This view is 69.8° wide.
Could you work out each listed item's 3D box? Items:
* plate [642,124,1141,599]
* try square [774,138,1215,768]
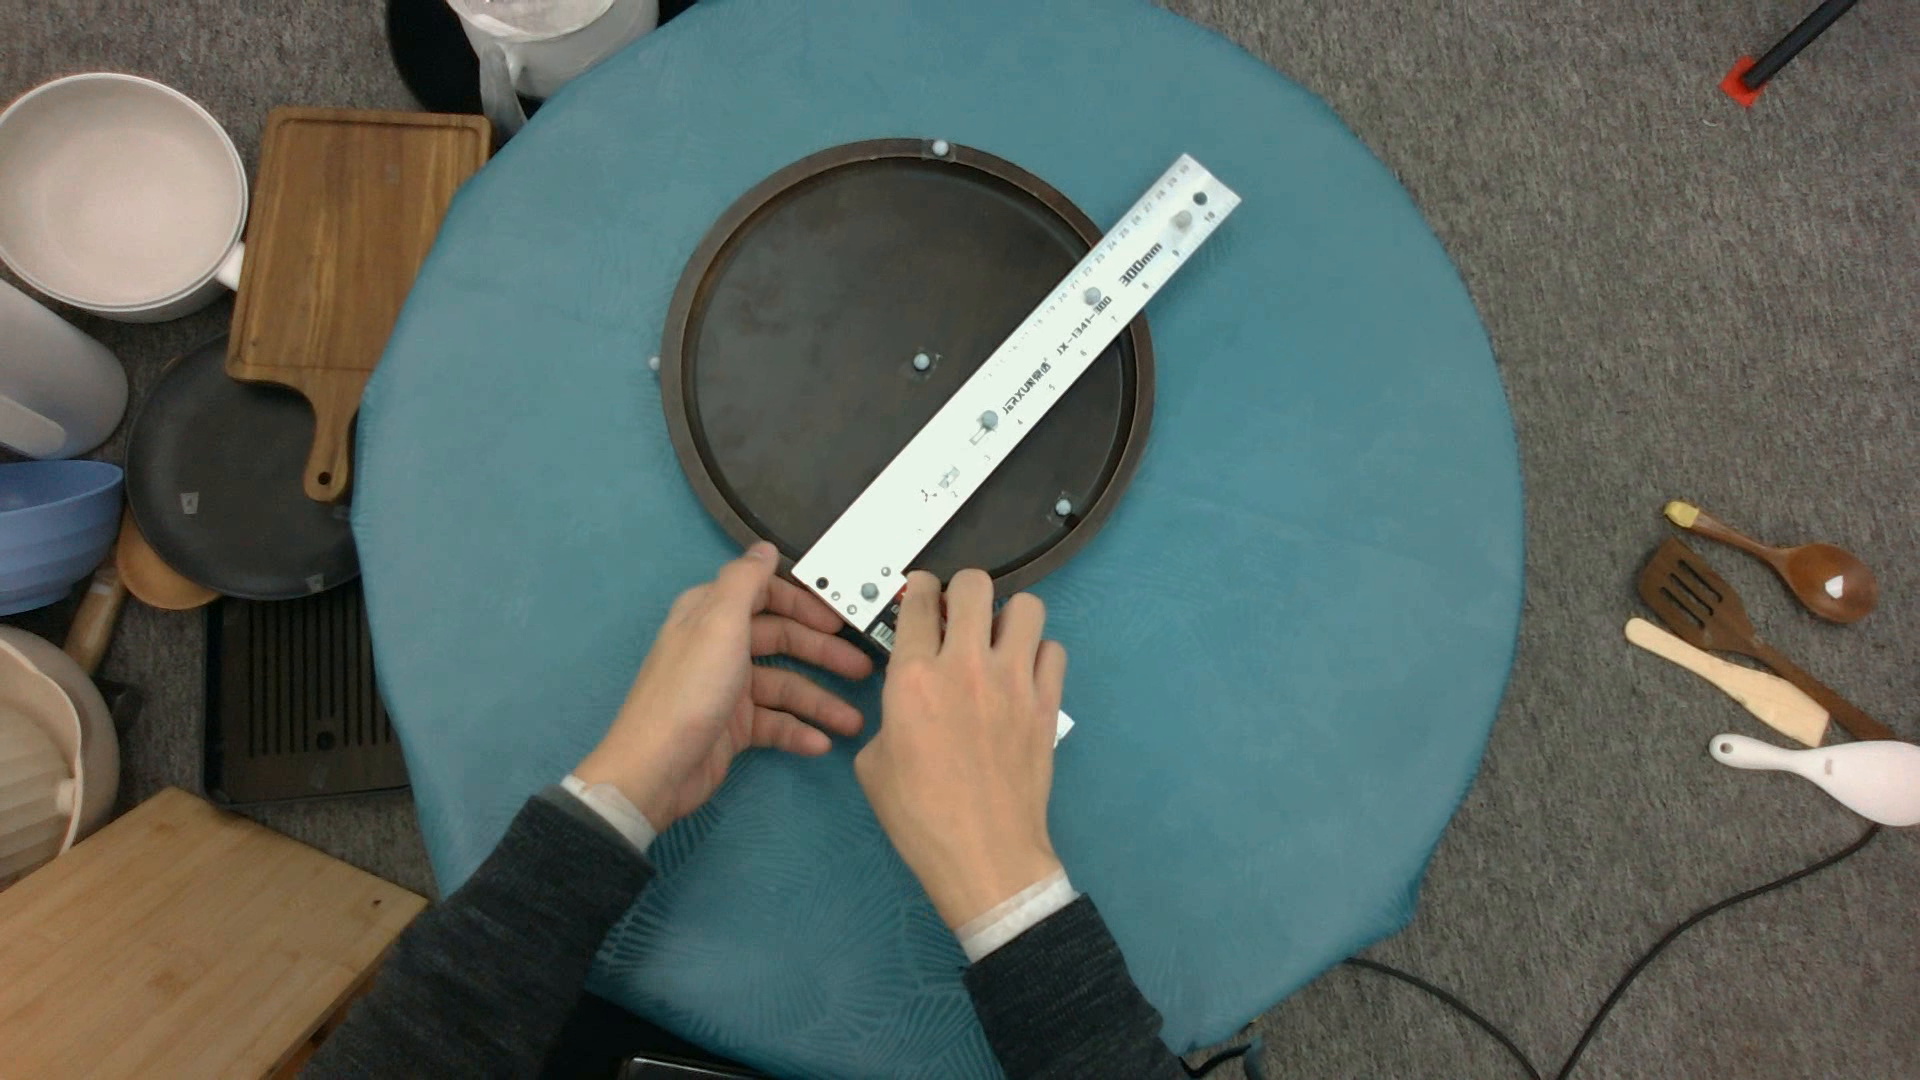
[{"bbox_3d":[-0.033,-0.093,0.707,0.255,0.029,0.255,1,77,-6],"label":"plate"},{"bbox_3d":[0.064,-0.053,0.695,0.152,0.016,0.313,40,75,3],"label":"try square"}]
